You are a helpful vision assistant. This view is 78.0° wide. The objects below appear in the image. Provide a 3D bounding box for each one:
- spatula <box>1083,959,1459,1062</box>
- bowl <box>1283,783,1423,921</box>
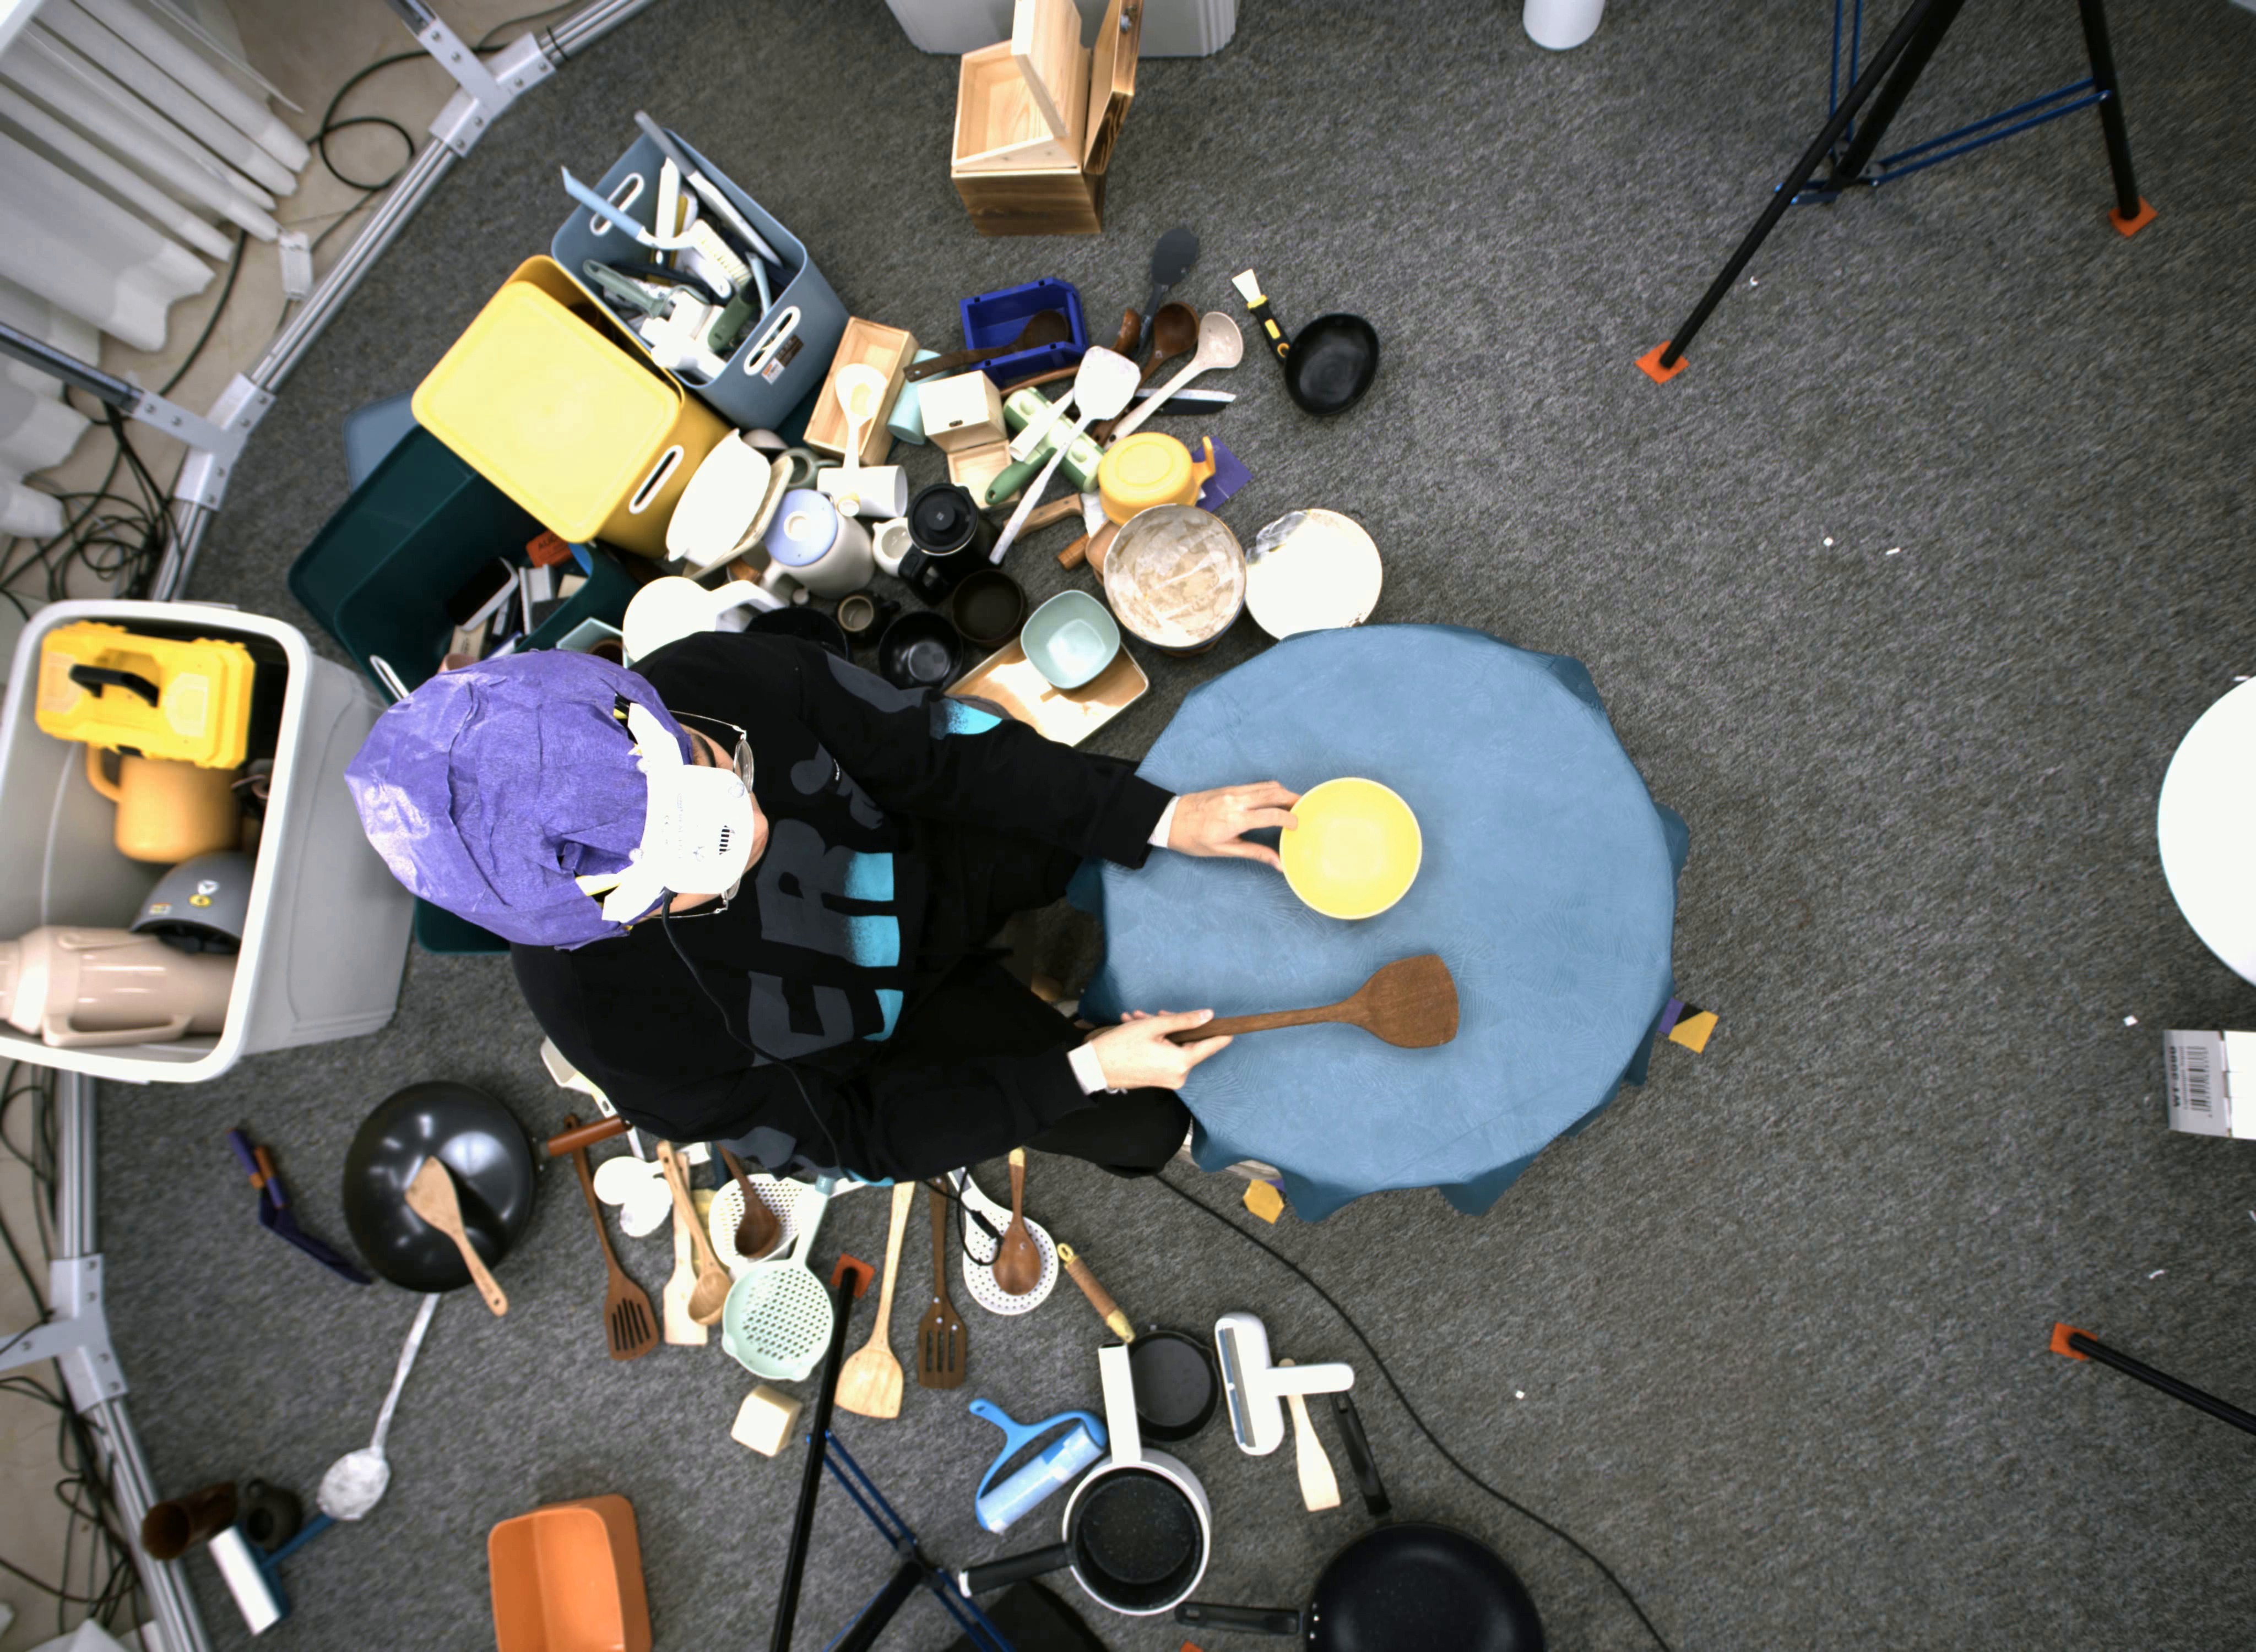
[{"bbox_3d":[0.145,0.203,1.419,0.387,0.016,0.094,-8,71,2],"label":"spatula"},{"bbox_3d":[0.236,0.029,1.446,0.146,0.060,0.144,-2,84,12],"label":"bowl"}]
